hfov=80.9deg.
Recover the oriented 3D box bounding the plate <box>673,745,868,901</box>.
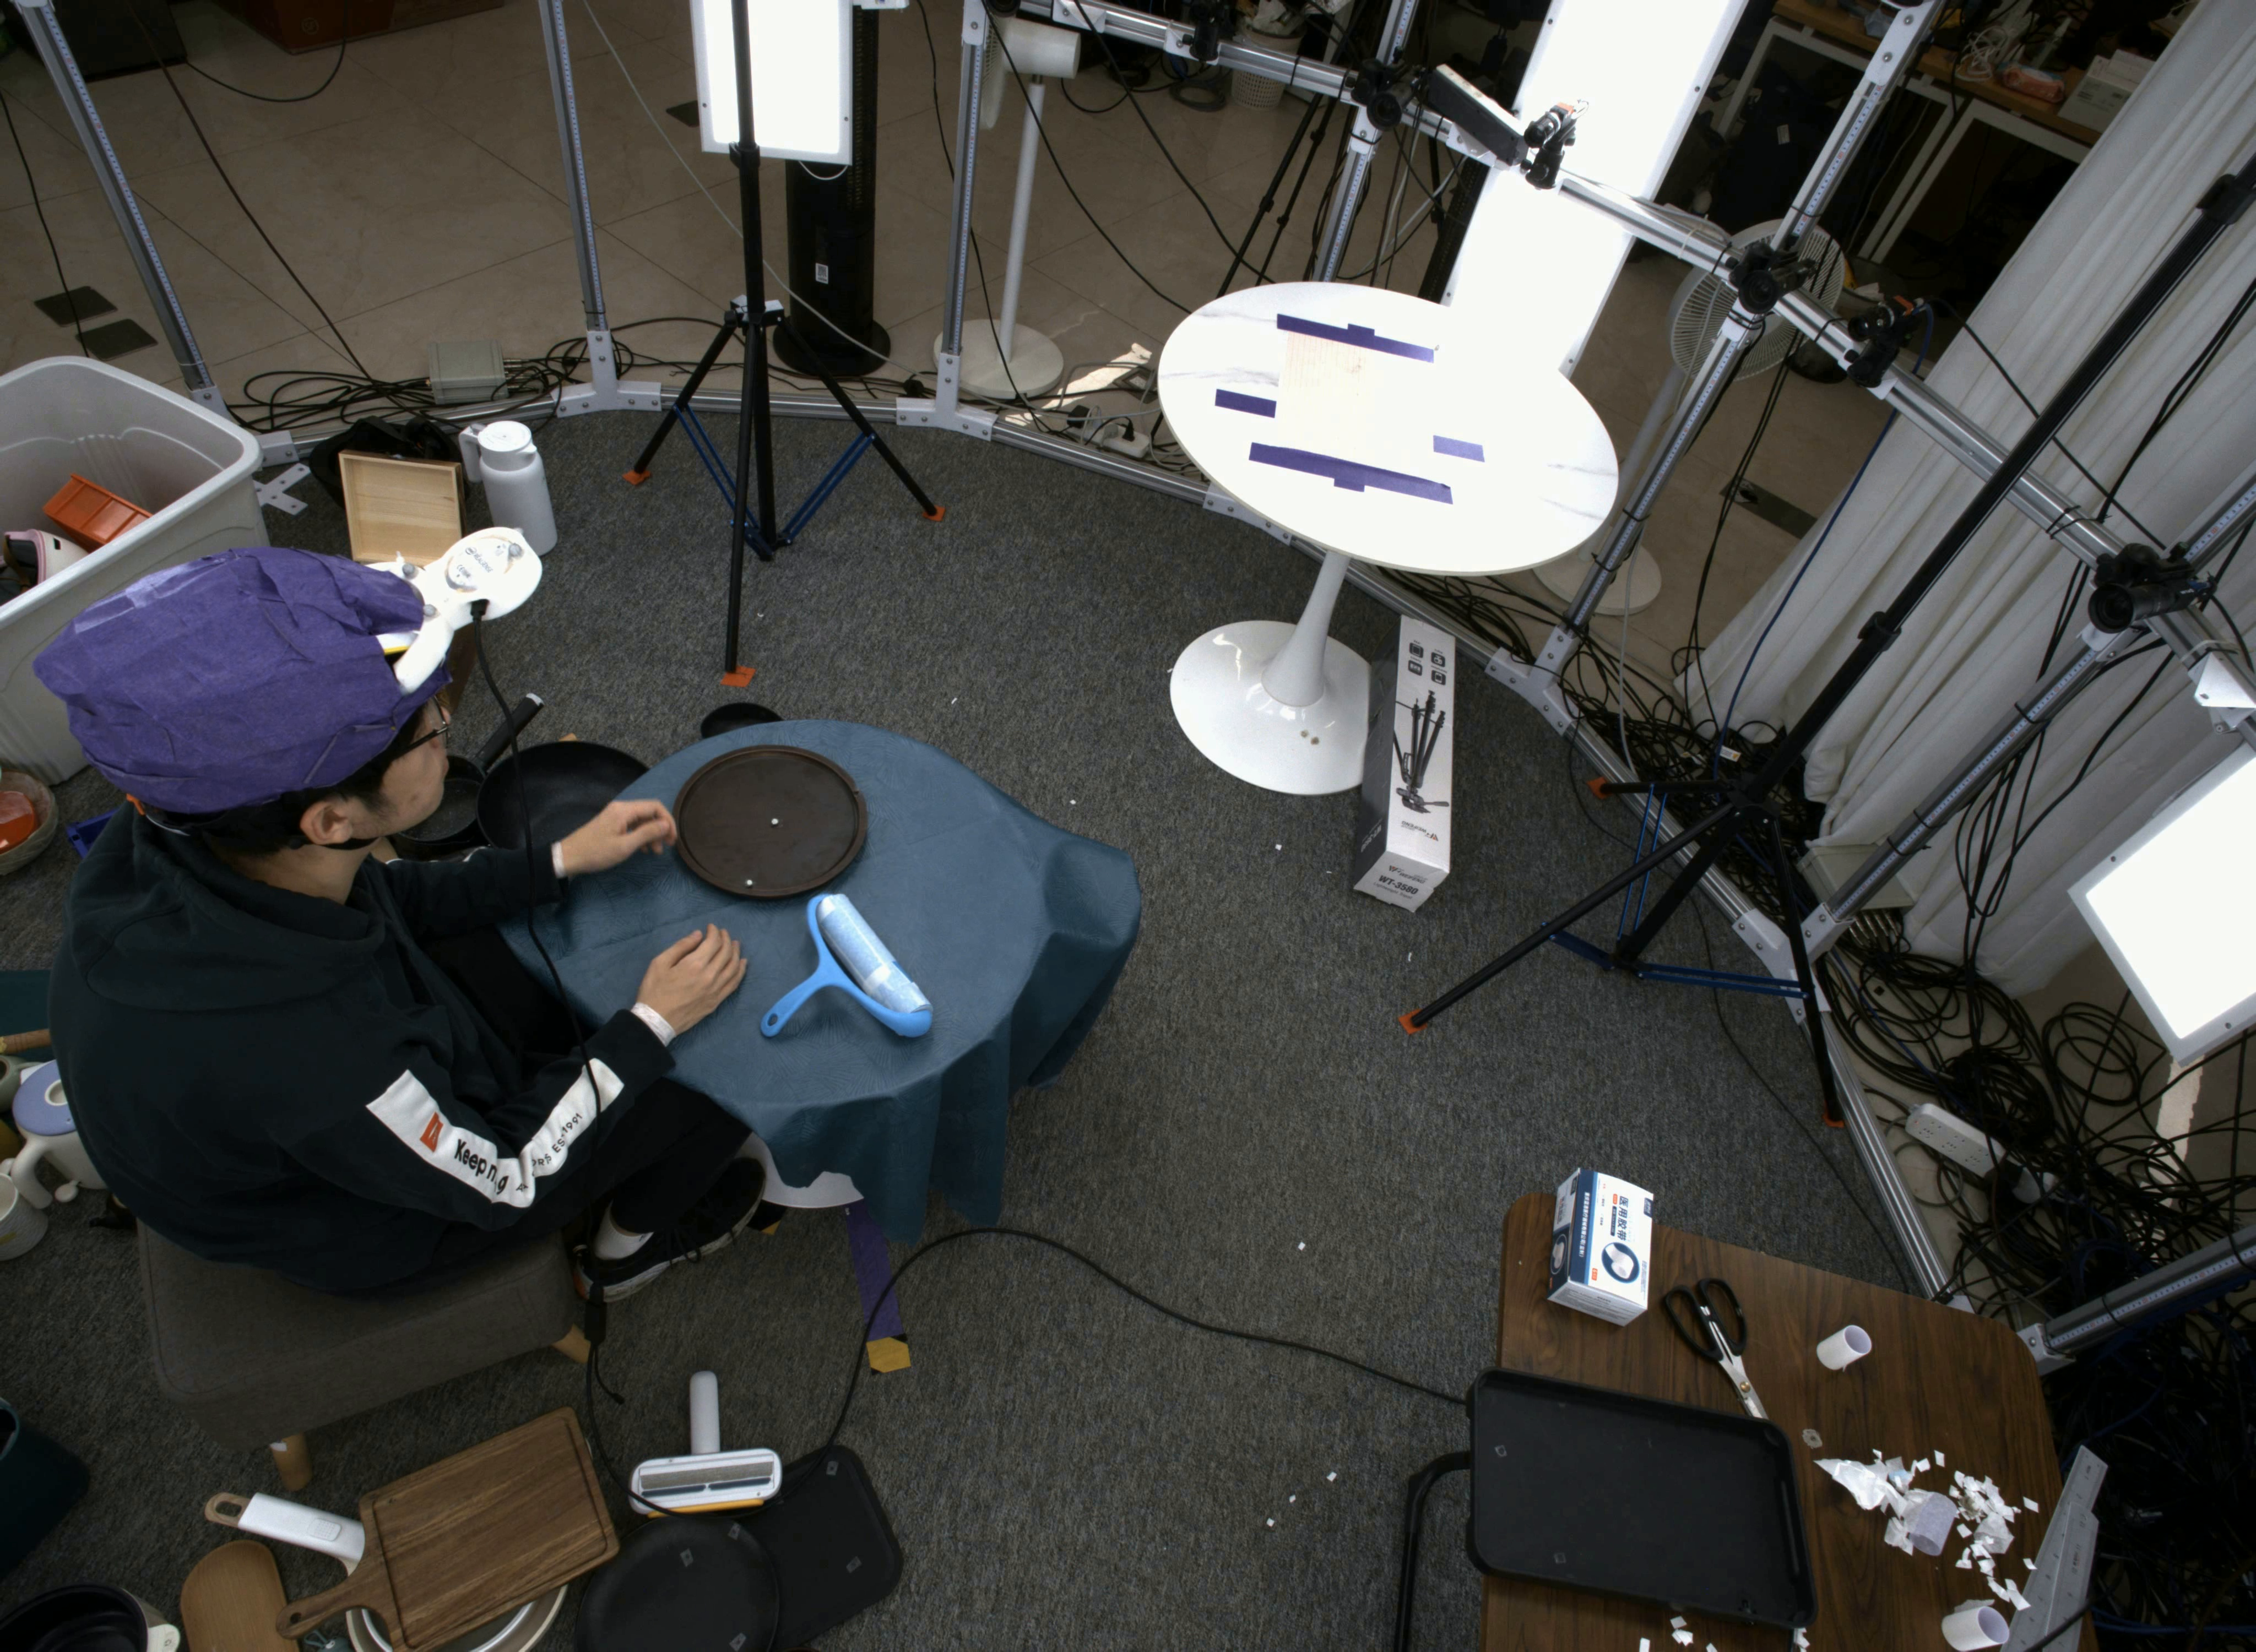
[{"bbox_3d":[-0.471,-0.007,1.708,0.254,0.029,0.250,9,51,-9],"label":"plate"}]

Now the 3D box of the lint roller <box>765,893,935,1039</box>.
[{"bbox_3d":[-0.358,0.192,1.569,0.181,0.069,0.224,-33,69,-33],"label":"lint roller"}]
